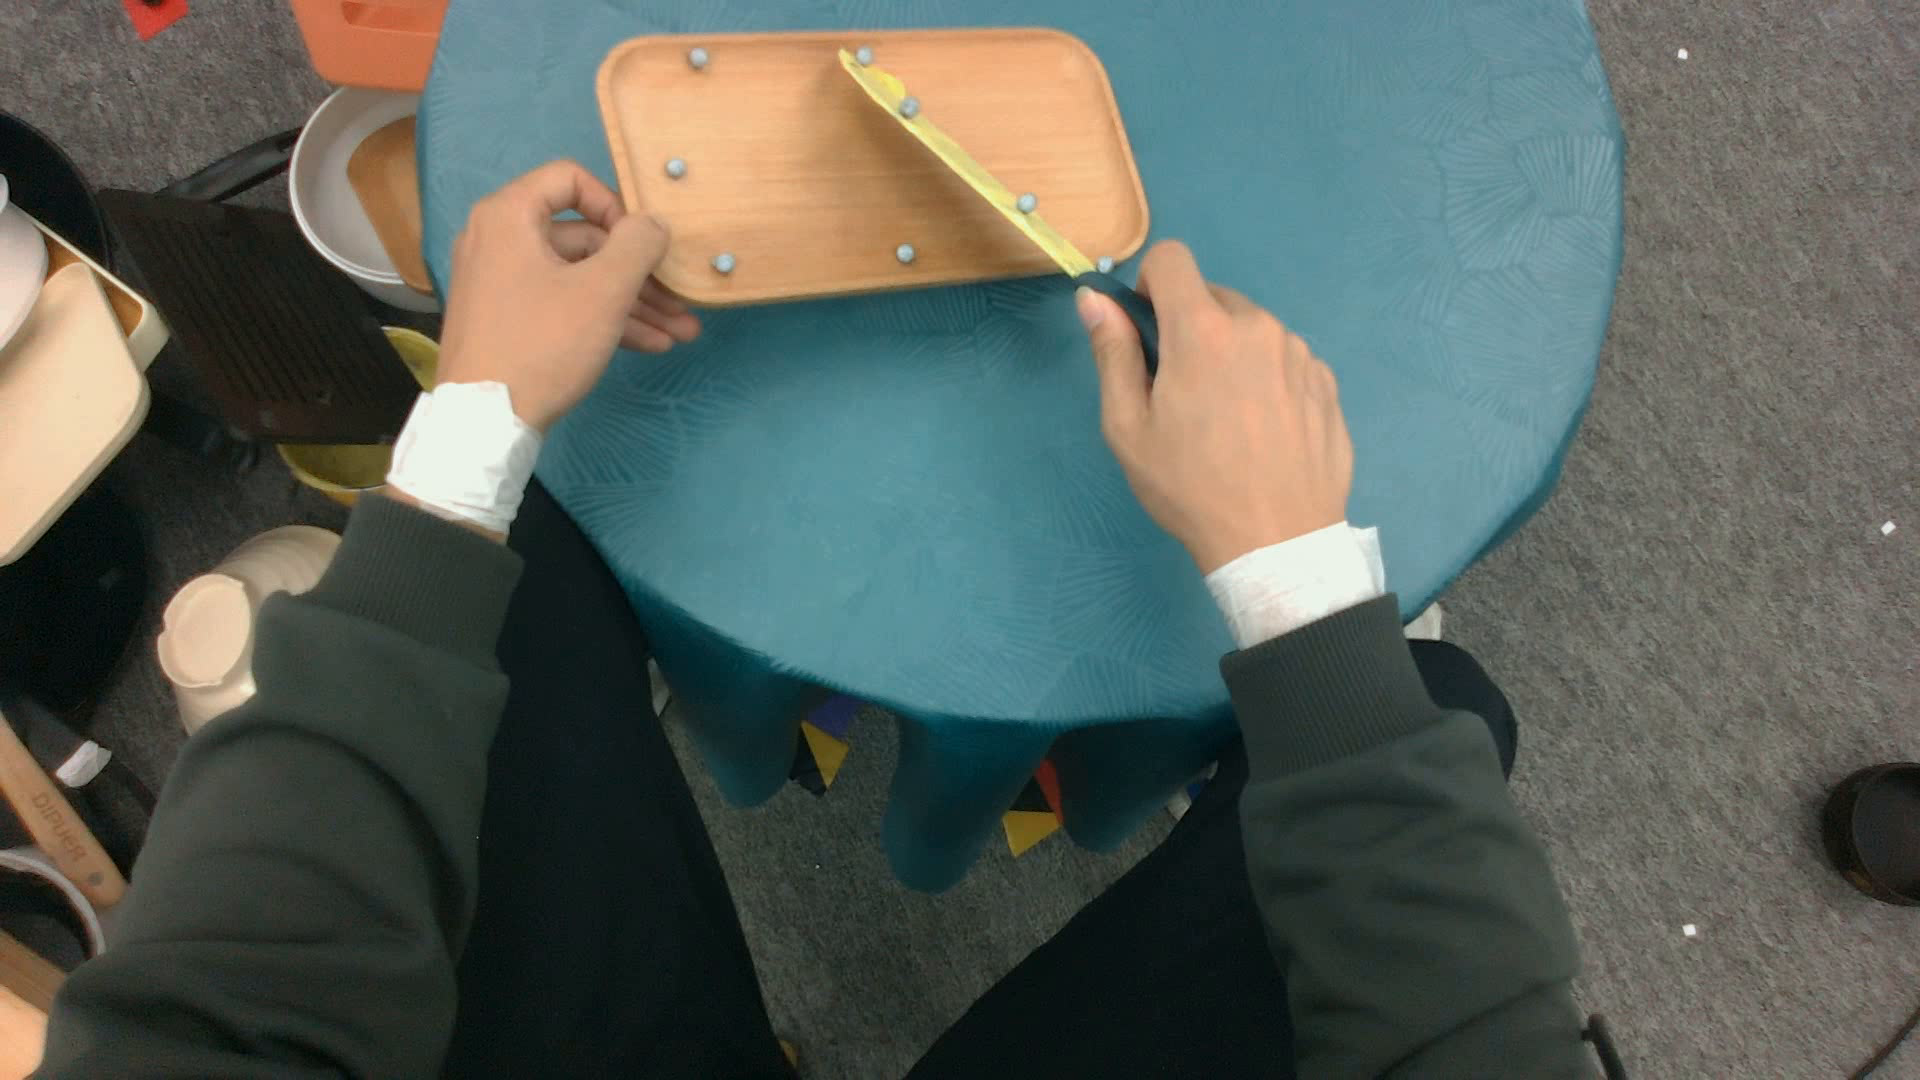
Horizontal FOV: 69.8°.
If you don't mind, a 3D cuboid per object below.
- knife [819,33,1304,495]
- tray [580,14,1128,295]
[{"bbox_3d":[0.040,-0.126,0.600,0.289,0.081,0.027,45,111,7],"label":"knife"},{"bbox_3d":[-0.042,-0.181,0.636,0.251,0.023,0.130,-11,80,-26],"label":"tray"}]
